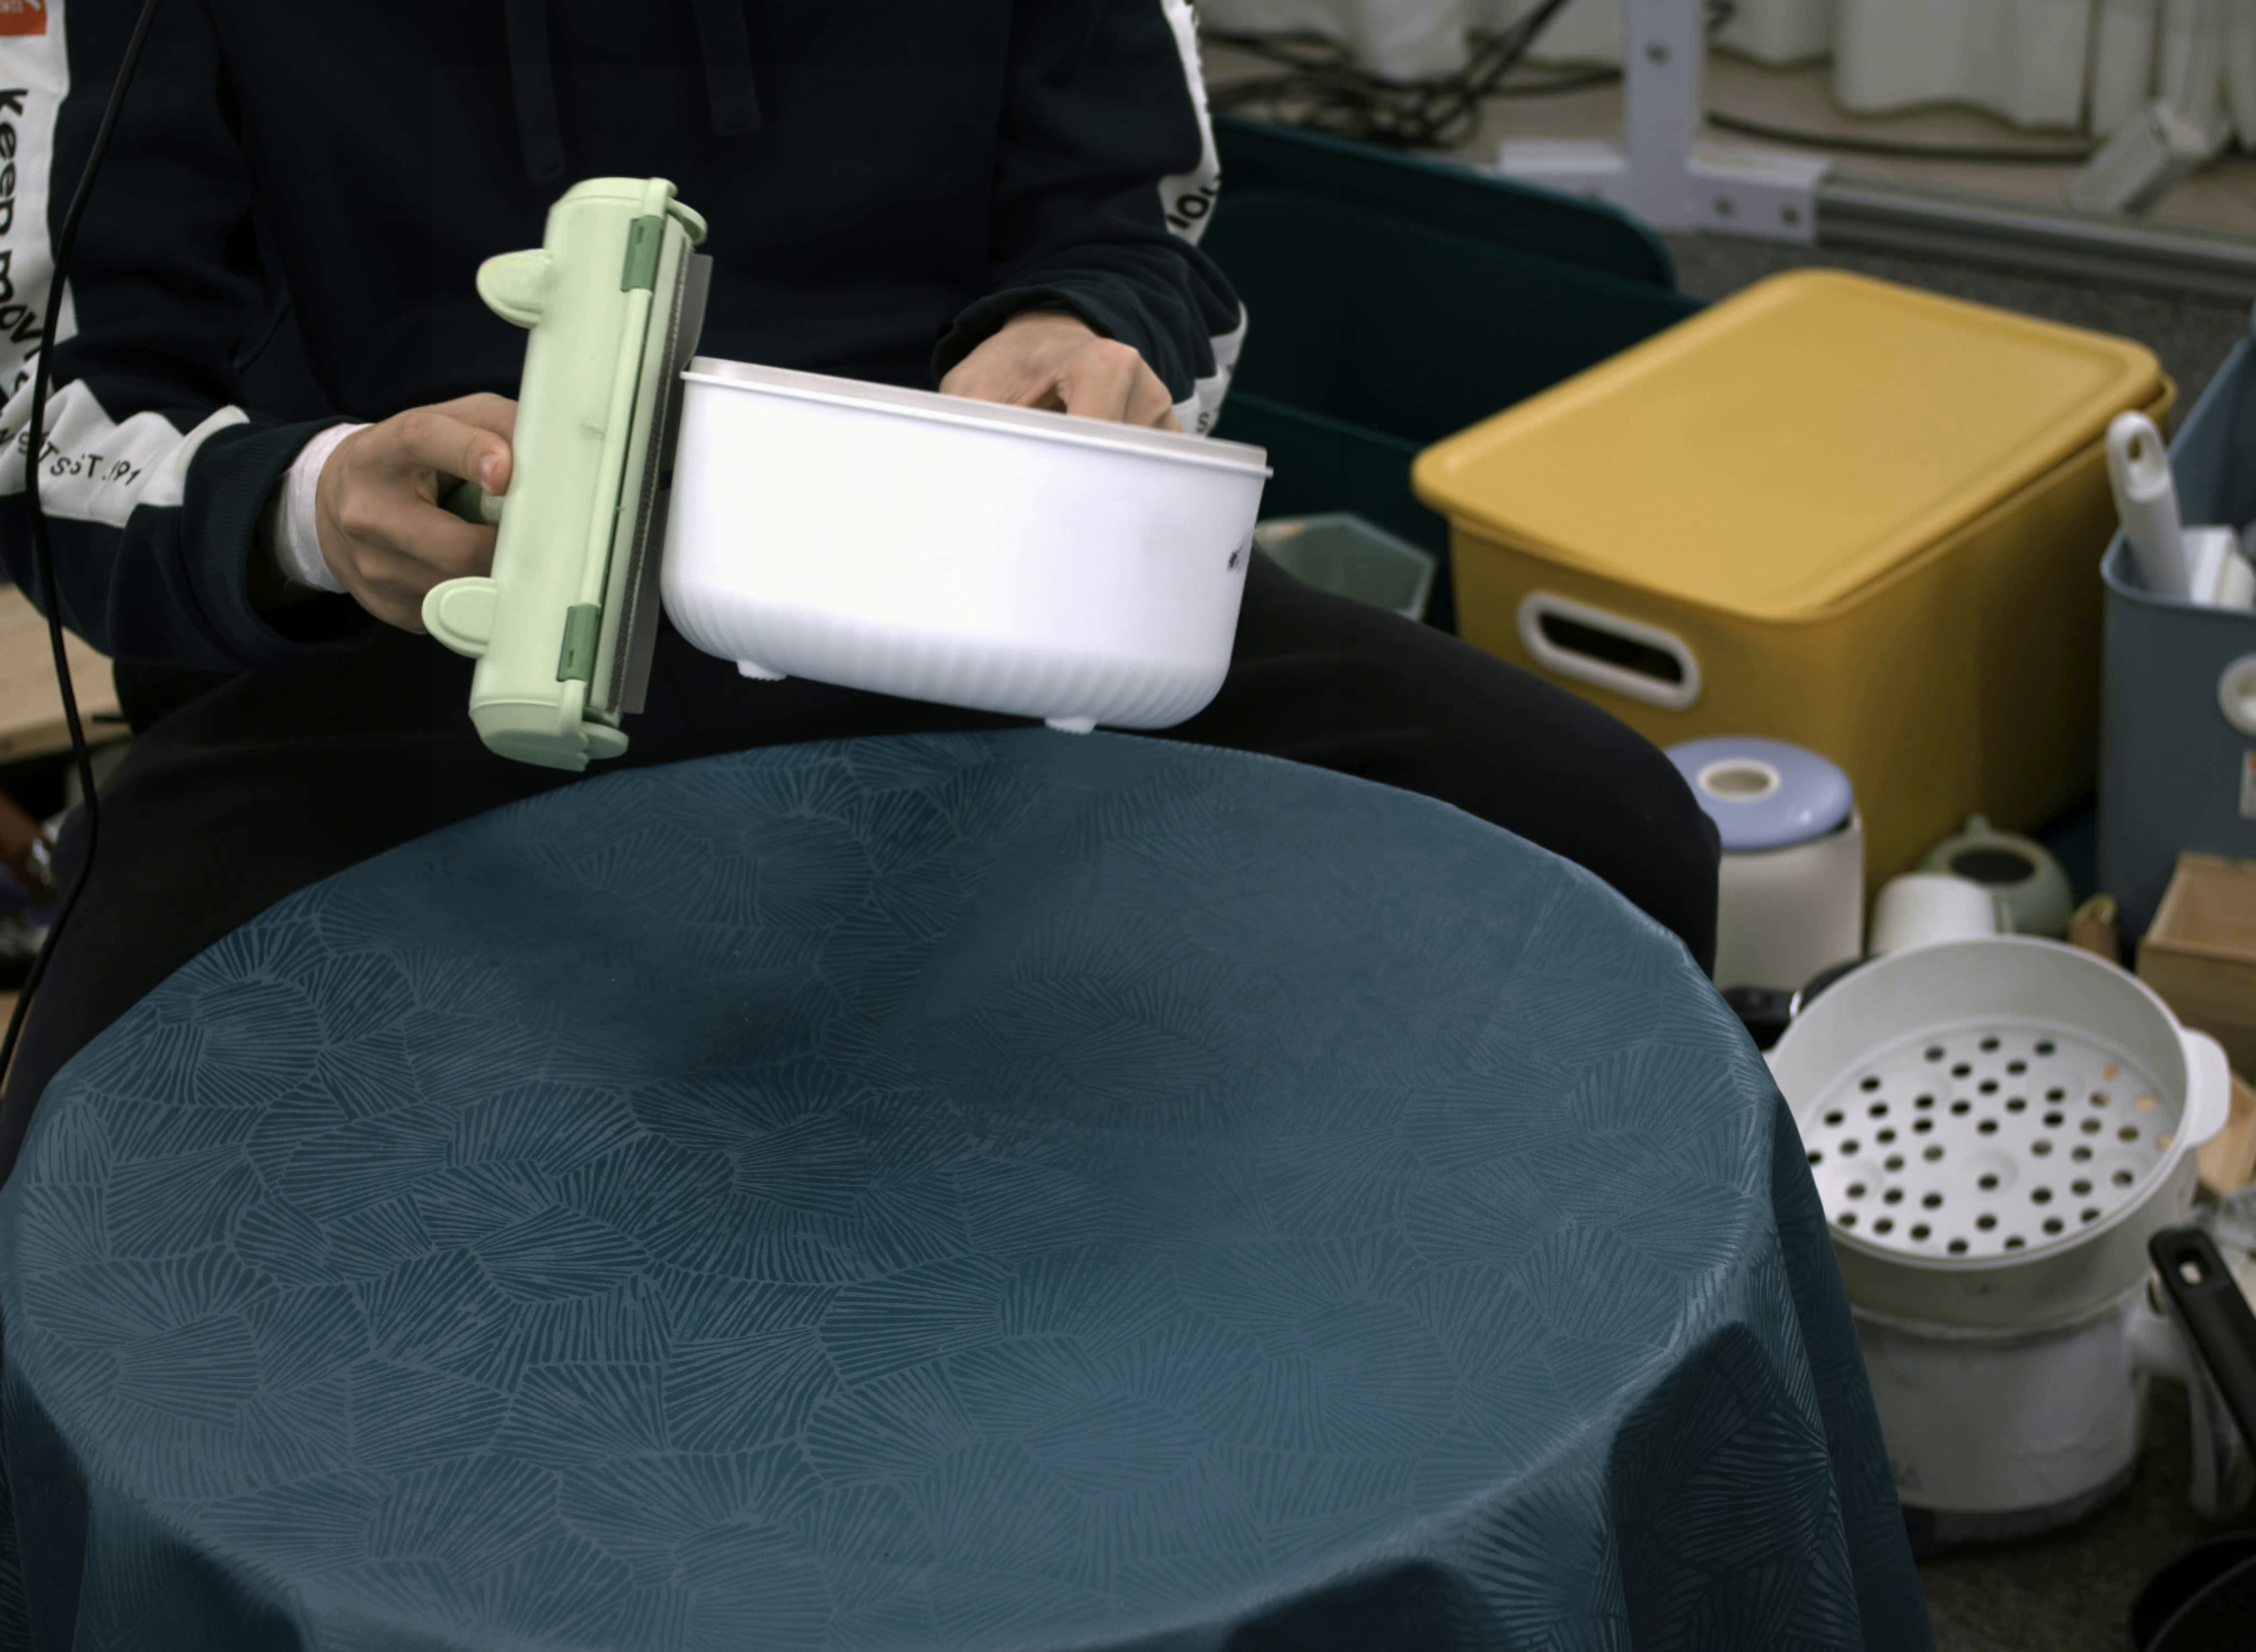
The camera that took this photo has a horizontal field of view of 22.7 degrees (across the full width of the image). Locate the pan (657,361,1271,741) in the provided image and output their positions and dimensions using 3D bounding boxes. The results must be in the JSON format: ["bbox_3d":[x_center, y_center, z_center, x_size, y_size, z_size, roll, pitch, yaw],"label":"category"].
[{"bbox_3d":[-0.052,-0.091,1.960,0.200,0.102,0.355,10,2,4],"label":"pan"}]

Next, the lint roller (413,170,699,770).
[{"bbox_3d":[-0.218,-0.114,1.918,0.082,0.201,0.181,16,-17,-35],"label":"lint roller"}]
